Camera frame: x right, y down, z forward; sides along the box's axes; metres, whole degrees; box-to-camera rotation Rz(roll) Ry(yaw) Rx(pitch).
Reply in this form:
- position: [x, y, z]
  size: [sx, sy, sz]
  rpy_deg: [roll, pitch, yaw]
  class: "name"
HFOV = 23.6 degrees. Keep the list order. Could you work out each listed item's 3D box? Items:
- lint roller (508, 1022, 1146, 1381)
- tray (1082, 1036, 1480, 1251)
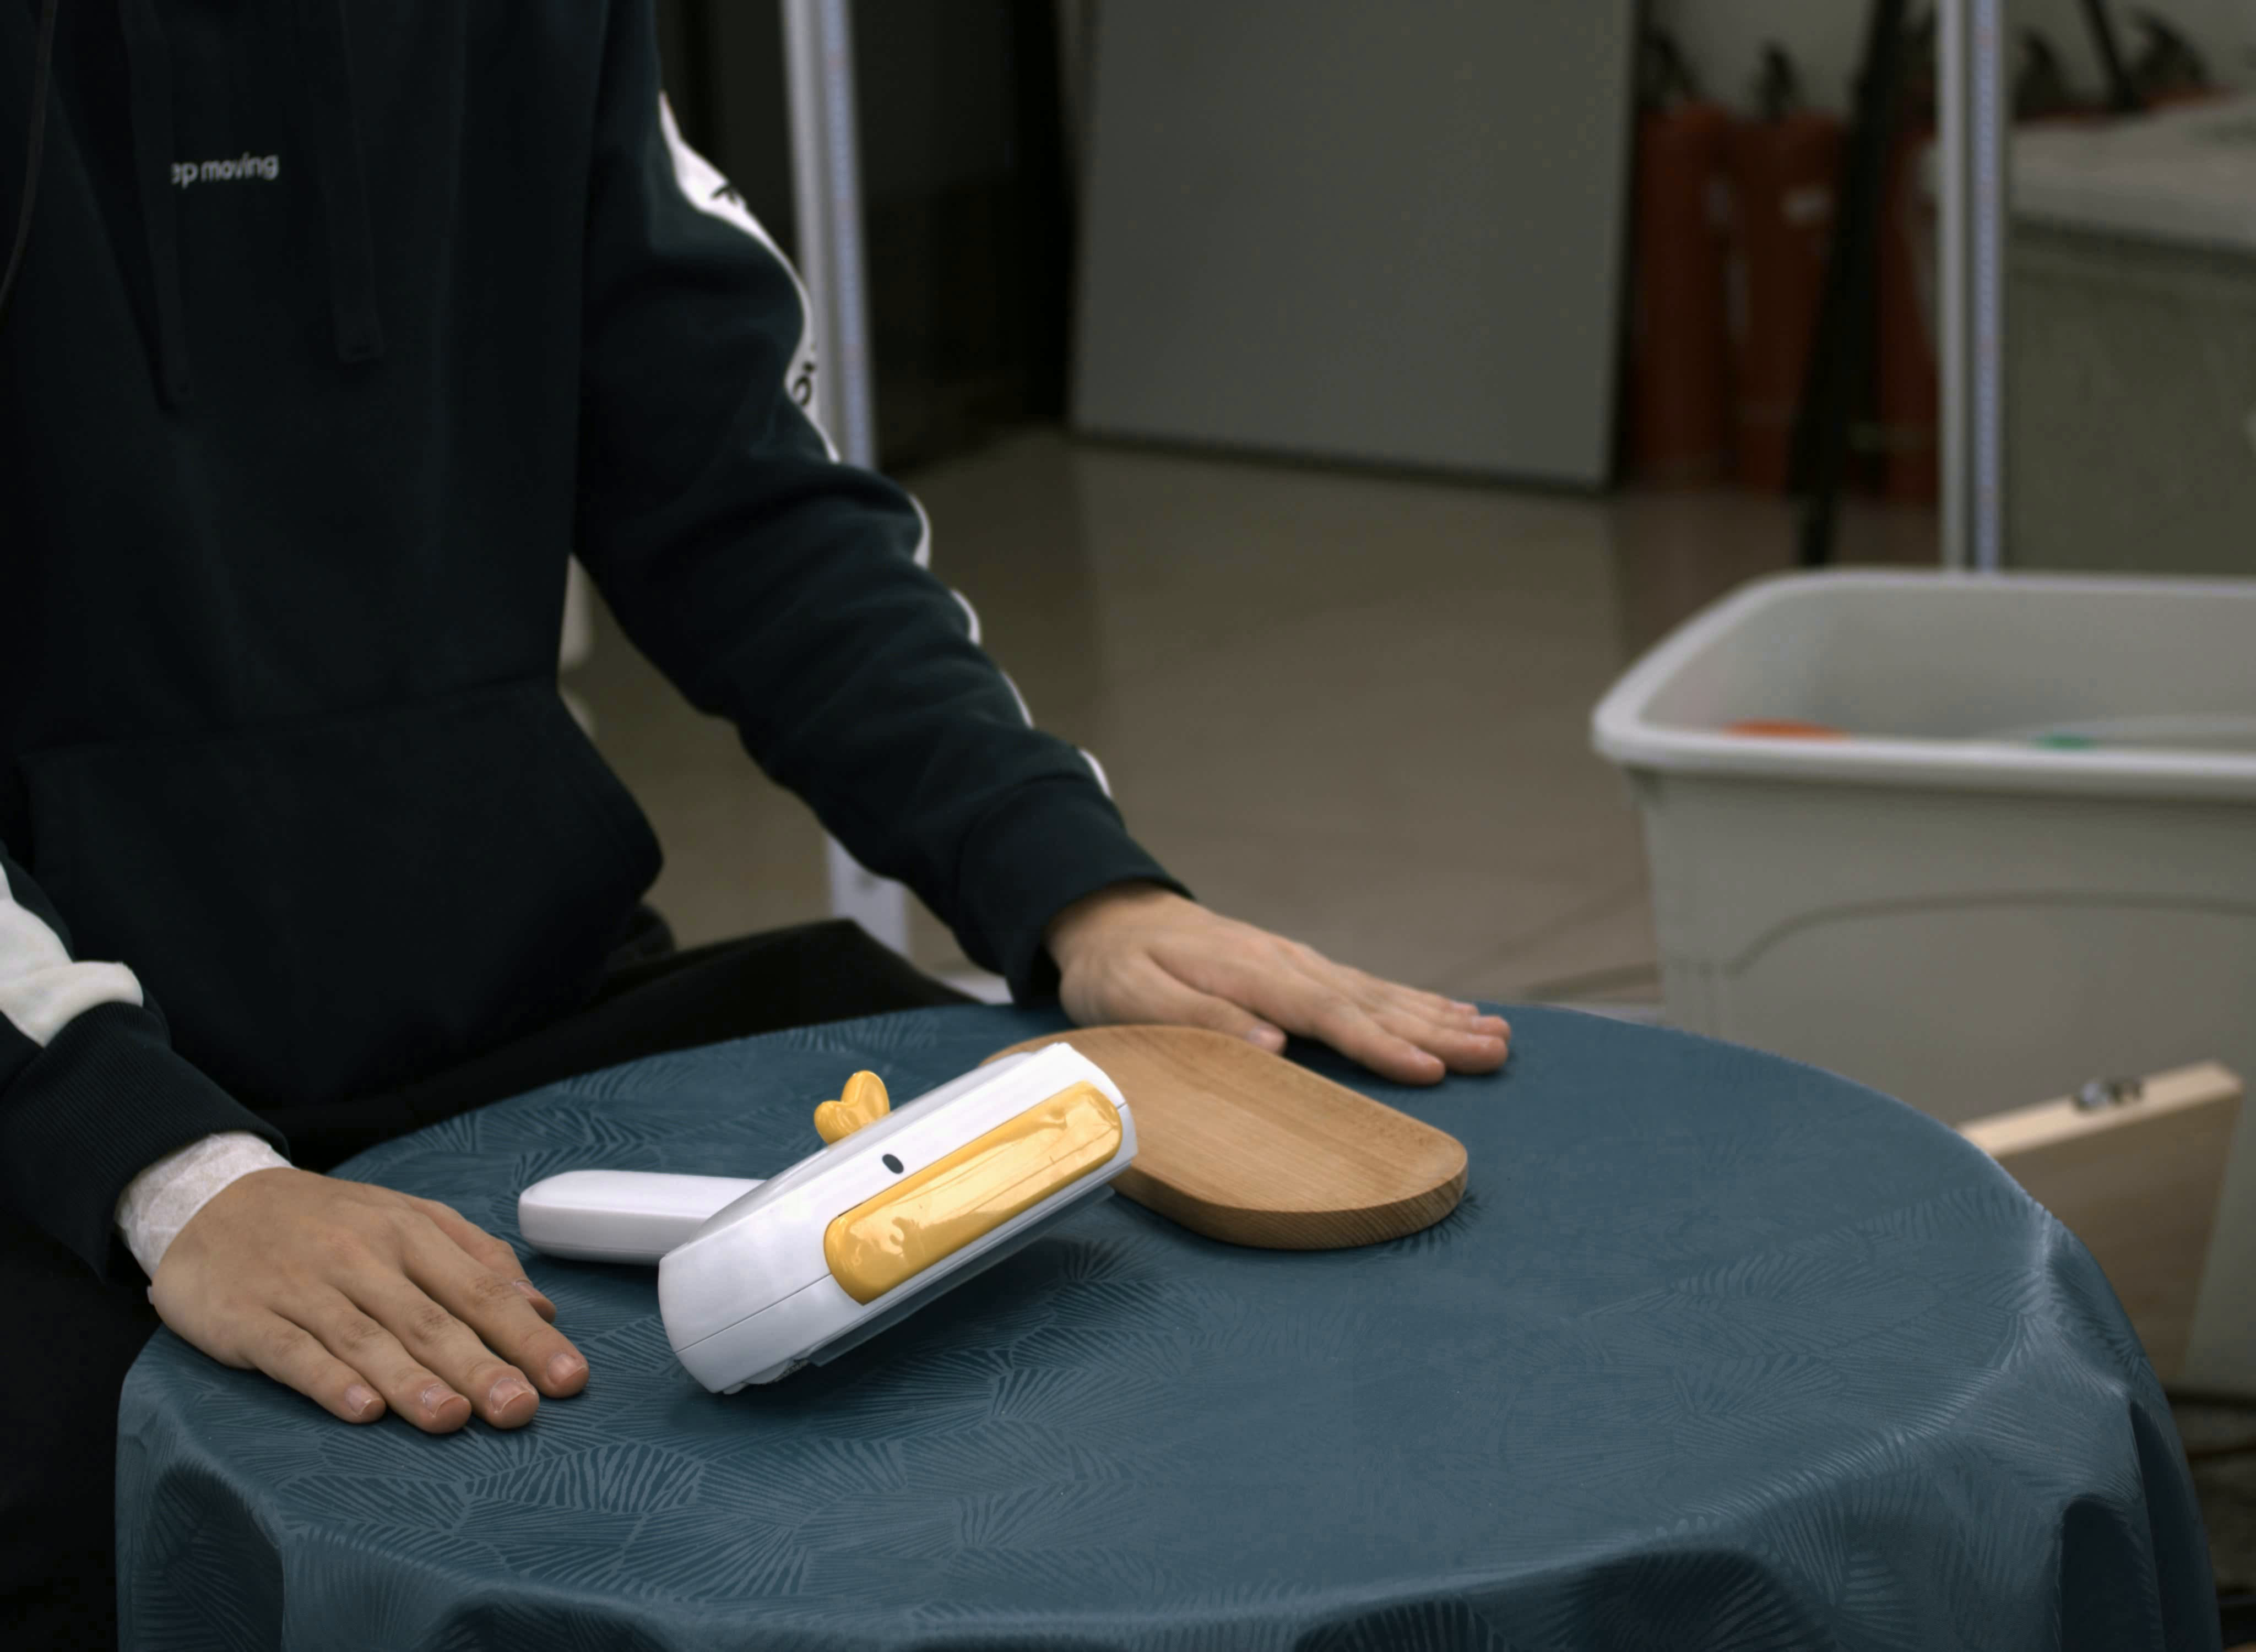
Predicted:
- position: [-0.112, 0.123, 1.693]
  size: [0.194, 0.074, 0.190]
  rpy_deg: [-18, 10, 36]
  class: "lint roller"
- position: [0.032, 0.104, 1.796]
  size: [0.099, 0.020, 0.233]
  rpy_deg: [-12, 17, -27]
  class: "tray"
